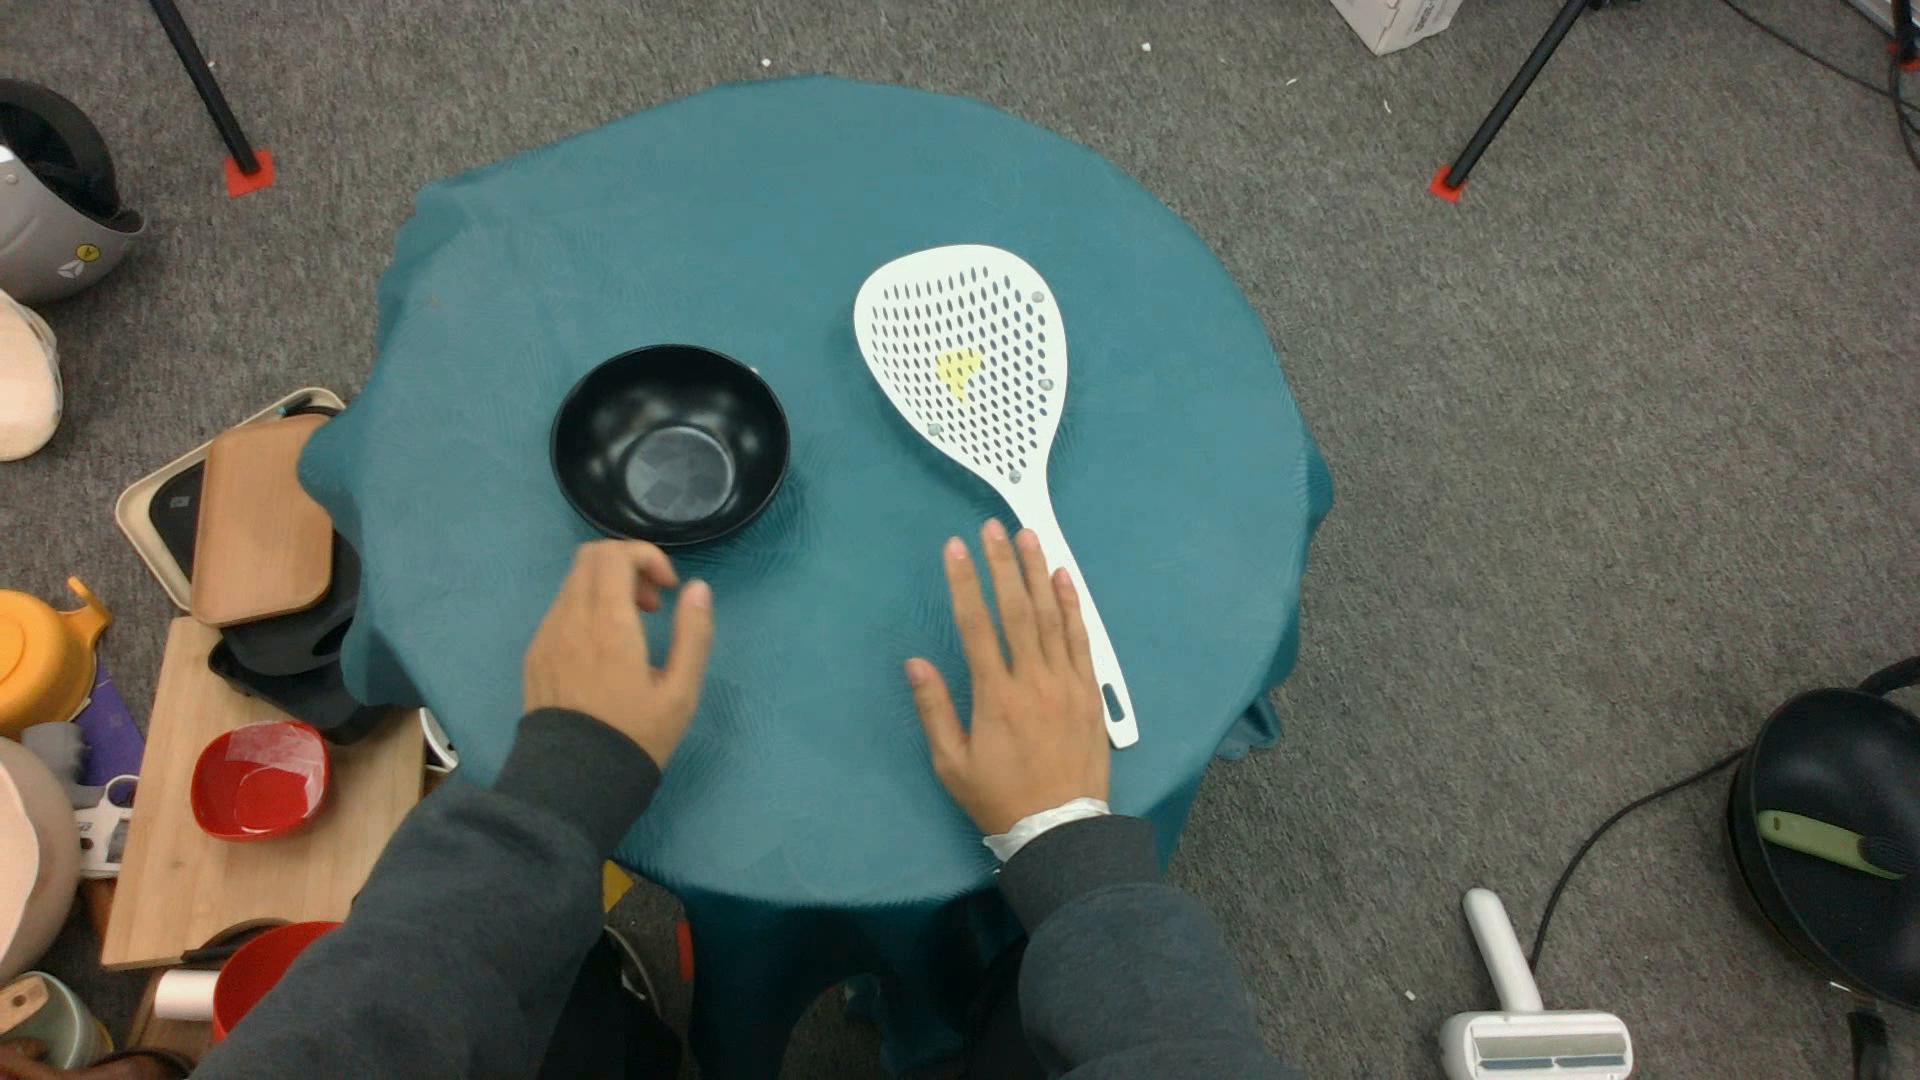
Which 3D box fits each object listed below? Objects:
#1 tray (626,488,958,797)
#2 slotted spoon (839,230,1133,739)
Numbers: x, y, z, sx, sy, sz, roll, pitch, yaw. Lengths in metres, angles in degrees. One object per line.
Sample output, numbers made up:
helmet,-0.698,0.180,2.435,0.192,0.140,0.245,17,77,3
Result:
tray,-0.169,0.098,1.391,0.300,0.027,0.192,40,66,12
slotted spoon,0.030,-0.040,0.856,0.137,0.050,0.348,-16,68,-19
